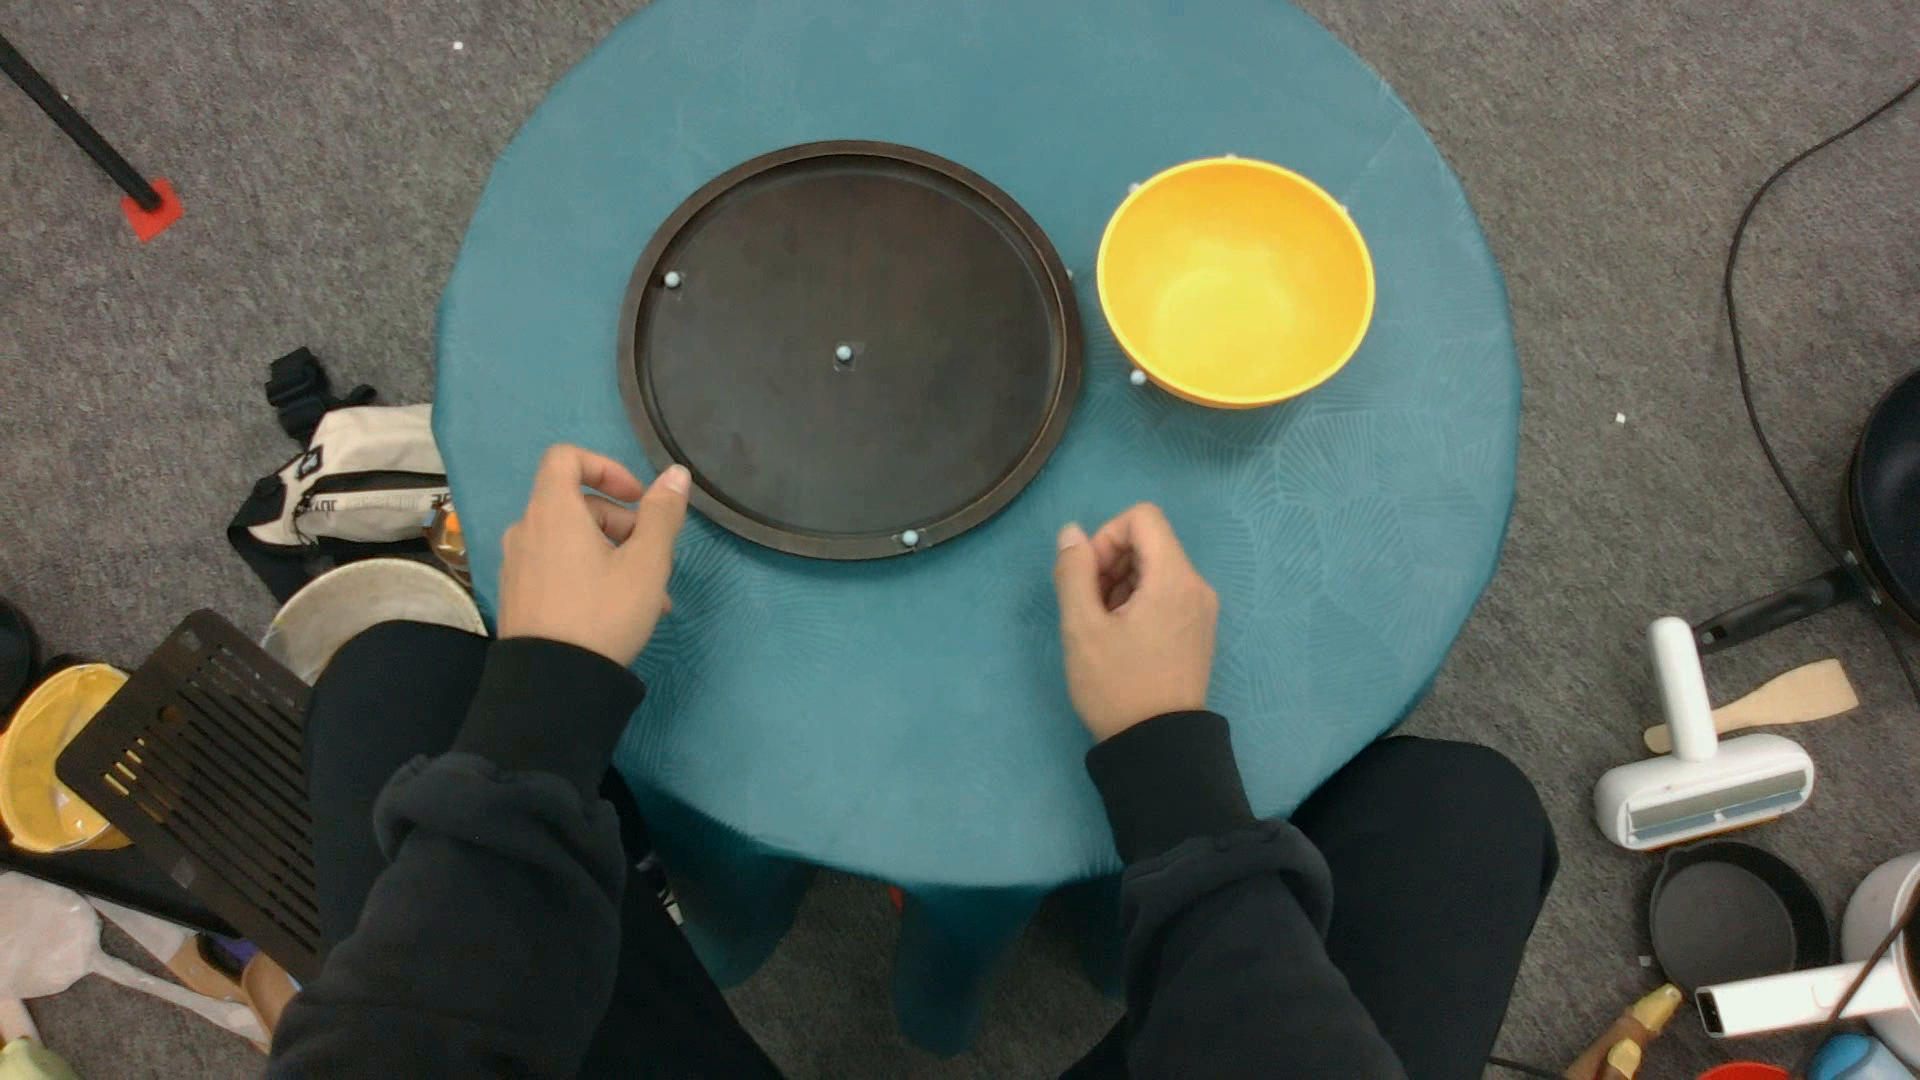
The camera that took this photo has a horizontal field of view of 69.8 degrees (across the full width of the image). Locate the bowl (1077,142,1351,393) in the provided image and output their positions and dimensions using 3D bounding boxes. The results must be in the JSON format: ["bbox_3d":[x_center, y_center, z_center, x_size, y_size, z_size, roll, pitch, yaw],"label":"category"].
[{"bbox_3d":[0.134,-0.139,0.751,0.145,0.060,0.145,0,73,-1],"label":"bowl"}]

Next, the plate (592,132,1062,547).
[{"bbox_3d":[-0.071,-0.113,0.752,0.255,0.029,0.255,2,71,-5],"label":"plate"}]
